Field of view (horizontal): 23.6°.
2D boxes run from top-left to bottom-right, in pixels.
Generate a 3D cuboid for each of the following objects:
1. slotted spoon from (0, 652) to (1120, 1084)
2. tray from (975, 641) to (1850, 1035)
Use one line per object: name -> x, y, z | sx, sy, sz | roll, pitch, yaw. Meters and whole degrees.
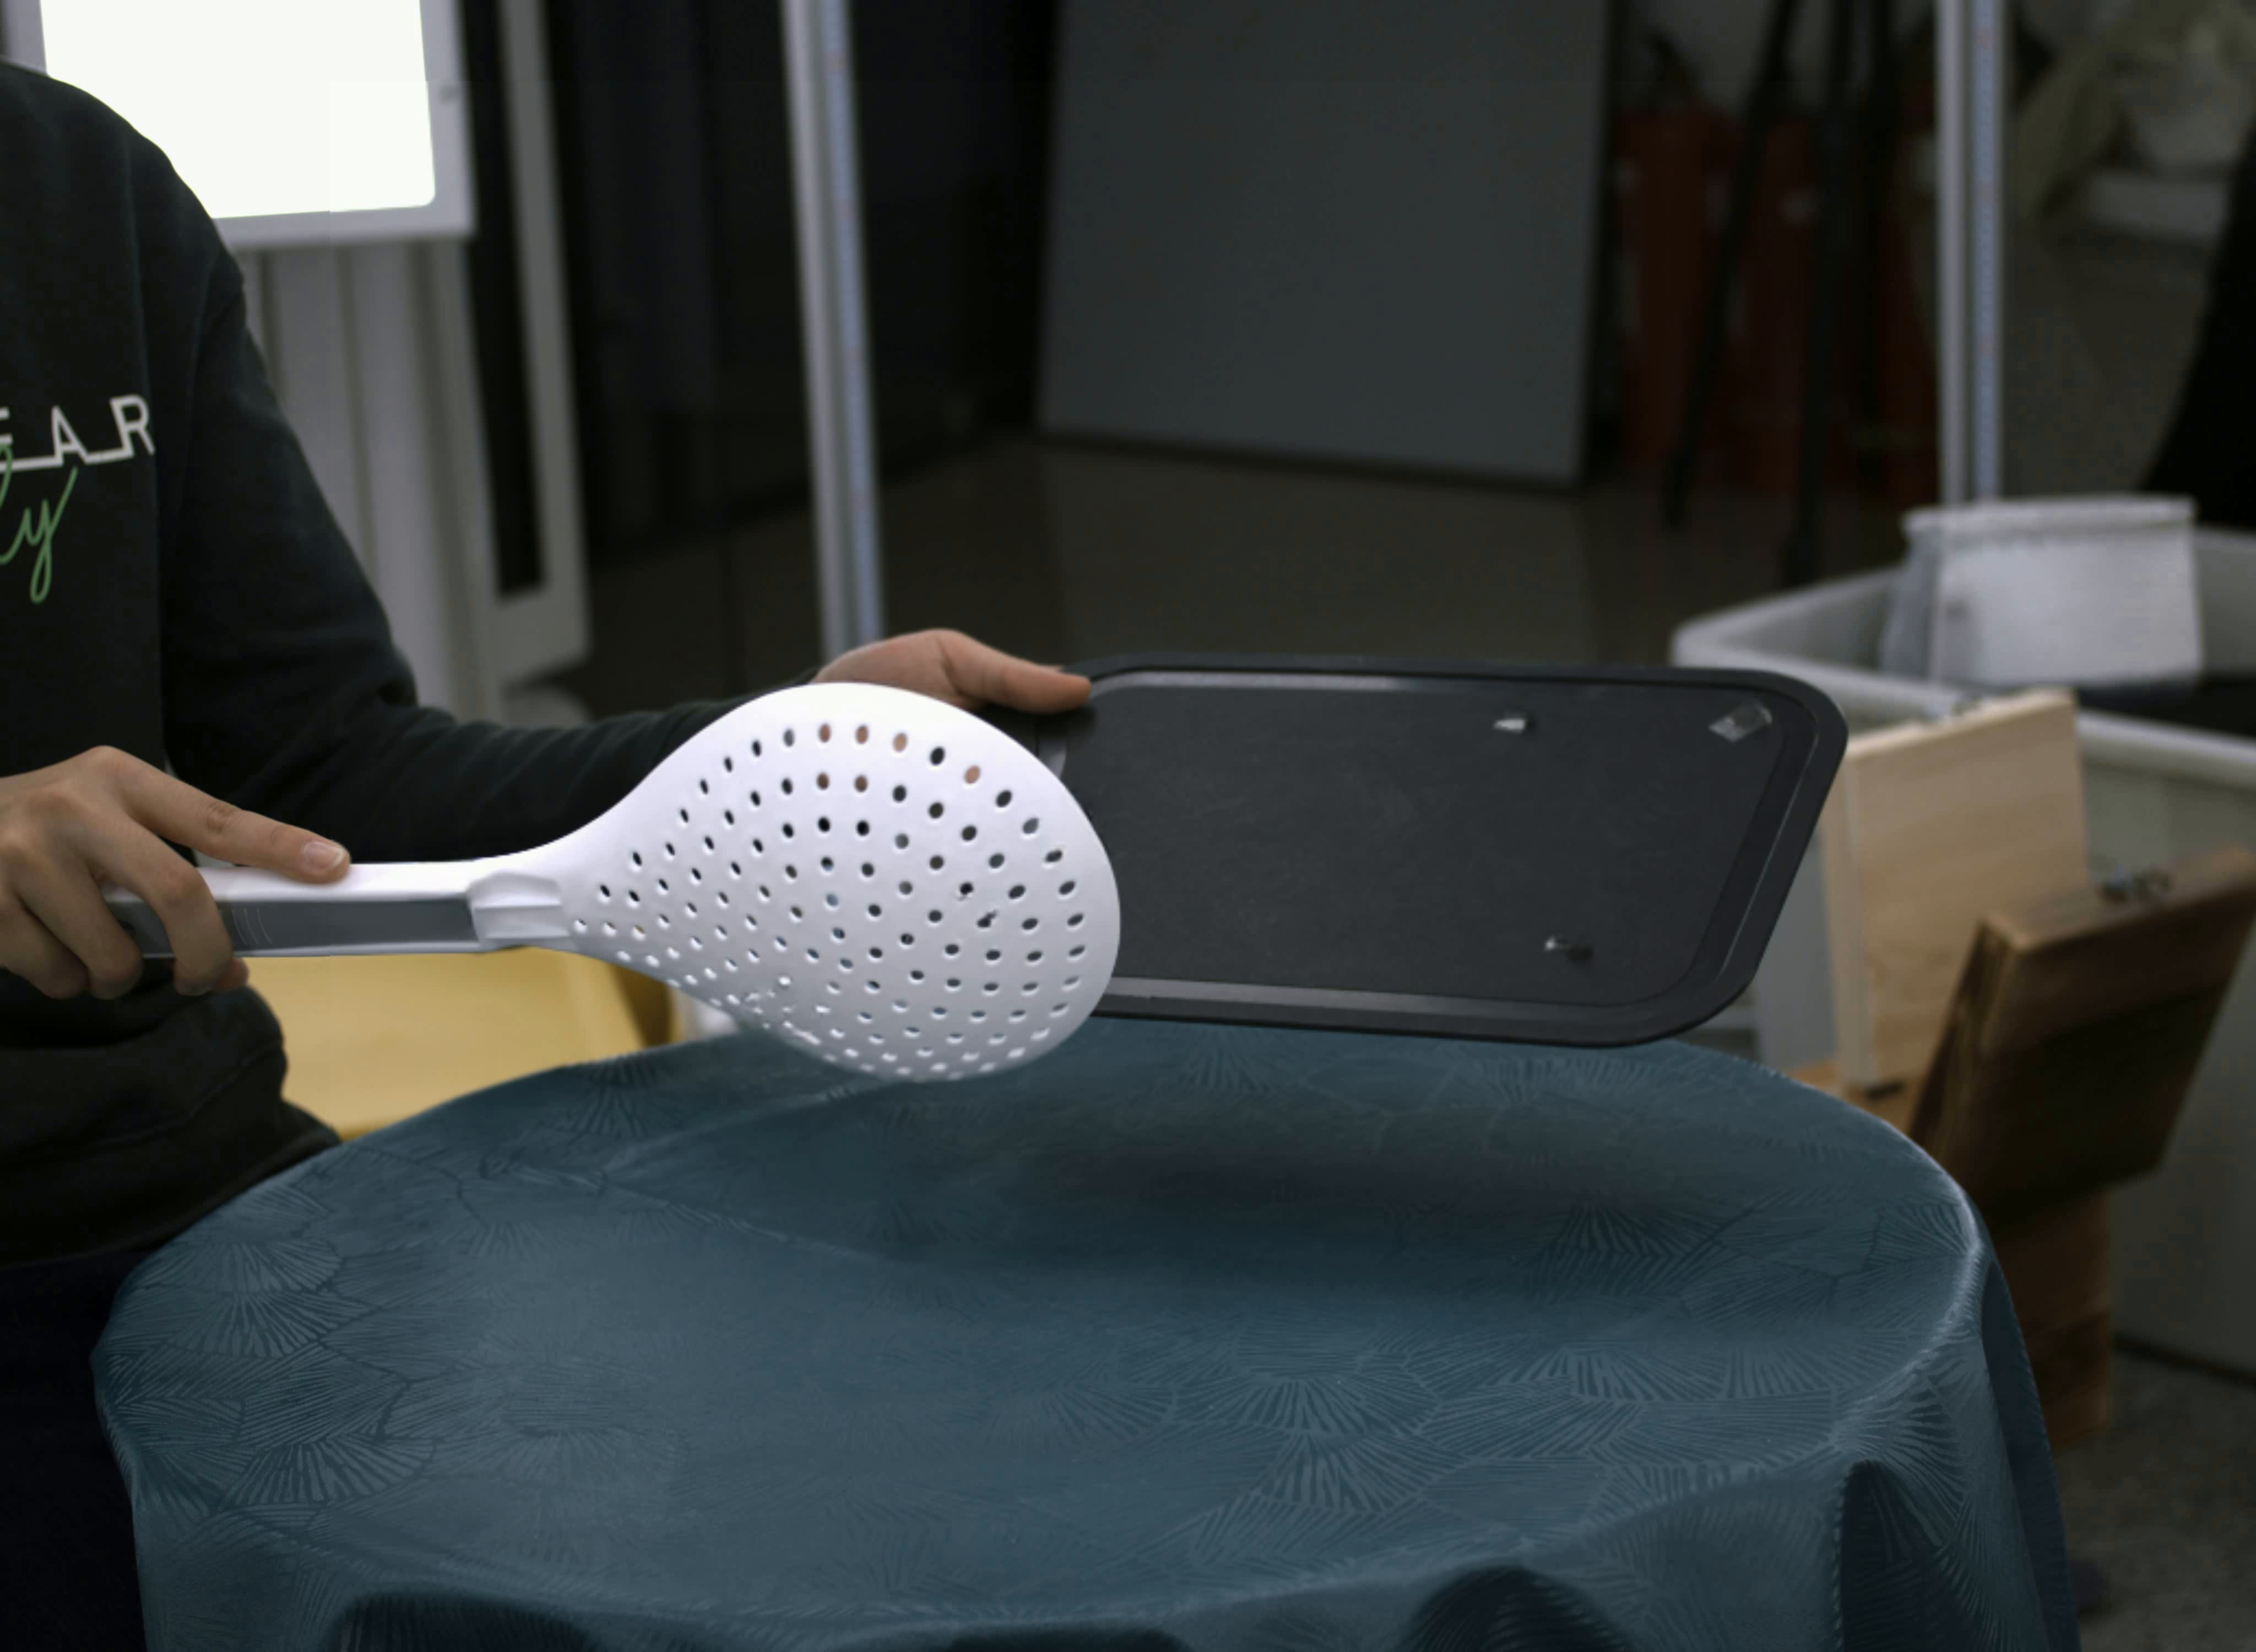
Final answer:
slotted spoon -> -0.170, 0.020, 1.544 | 0.350, 0.137, 0.045 | 0, 28, 25
tray -> 0.065, -0.001, 1.760 | 0.325, 0.010, 0.210 | 2, 36, 23
